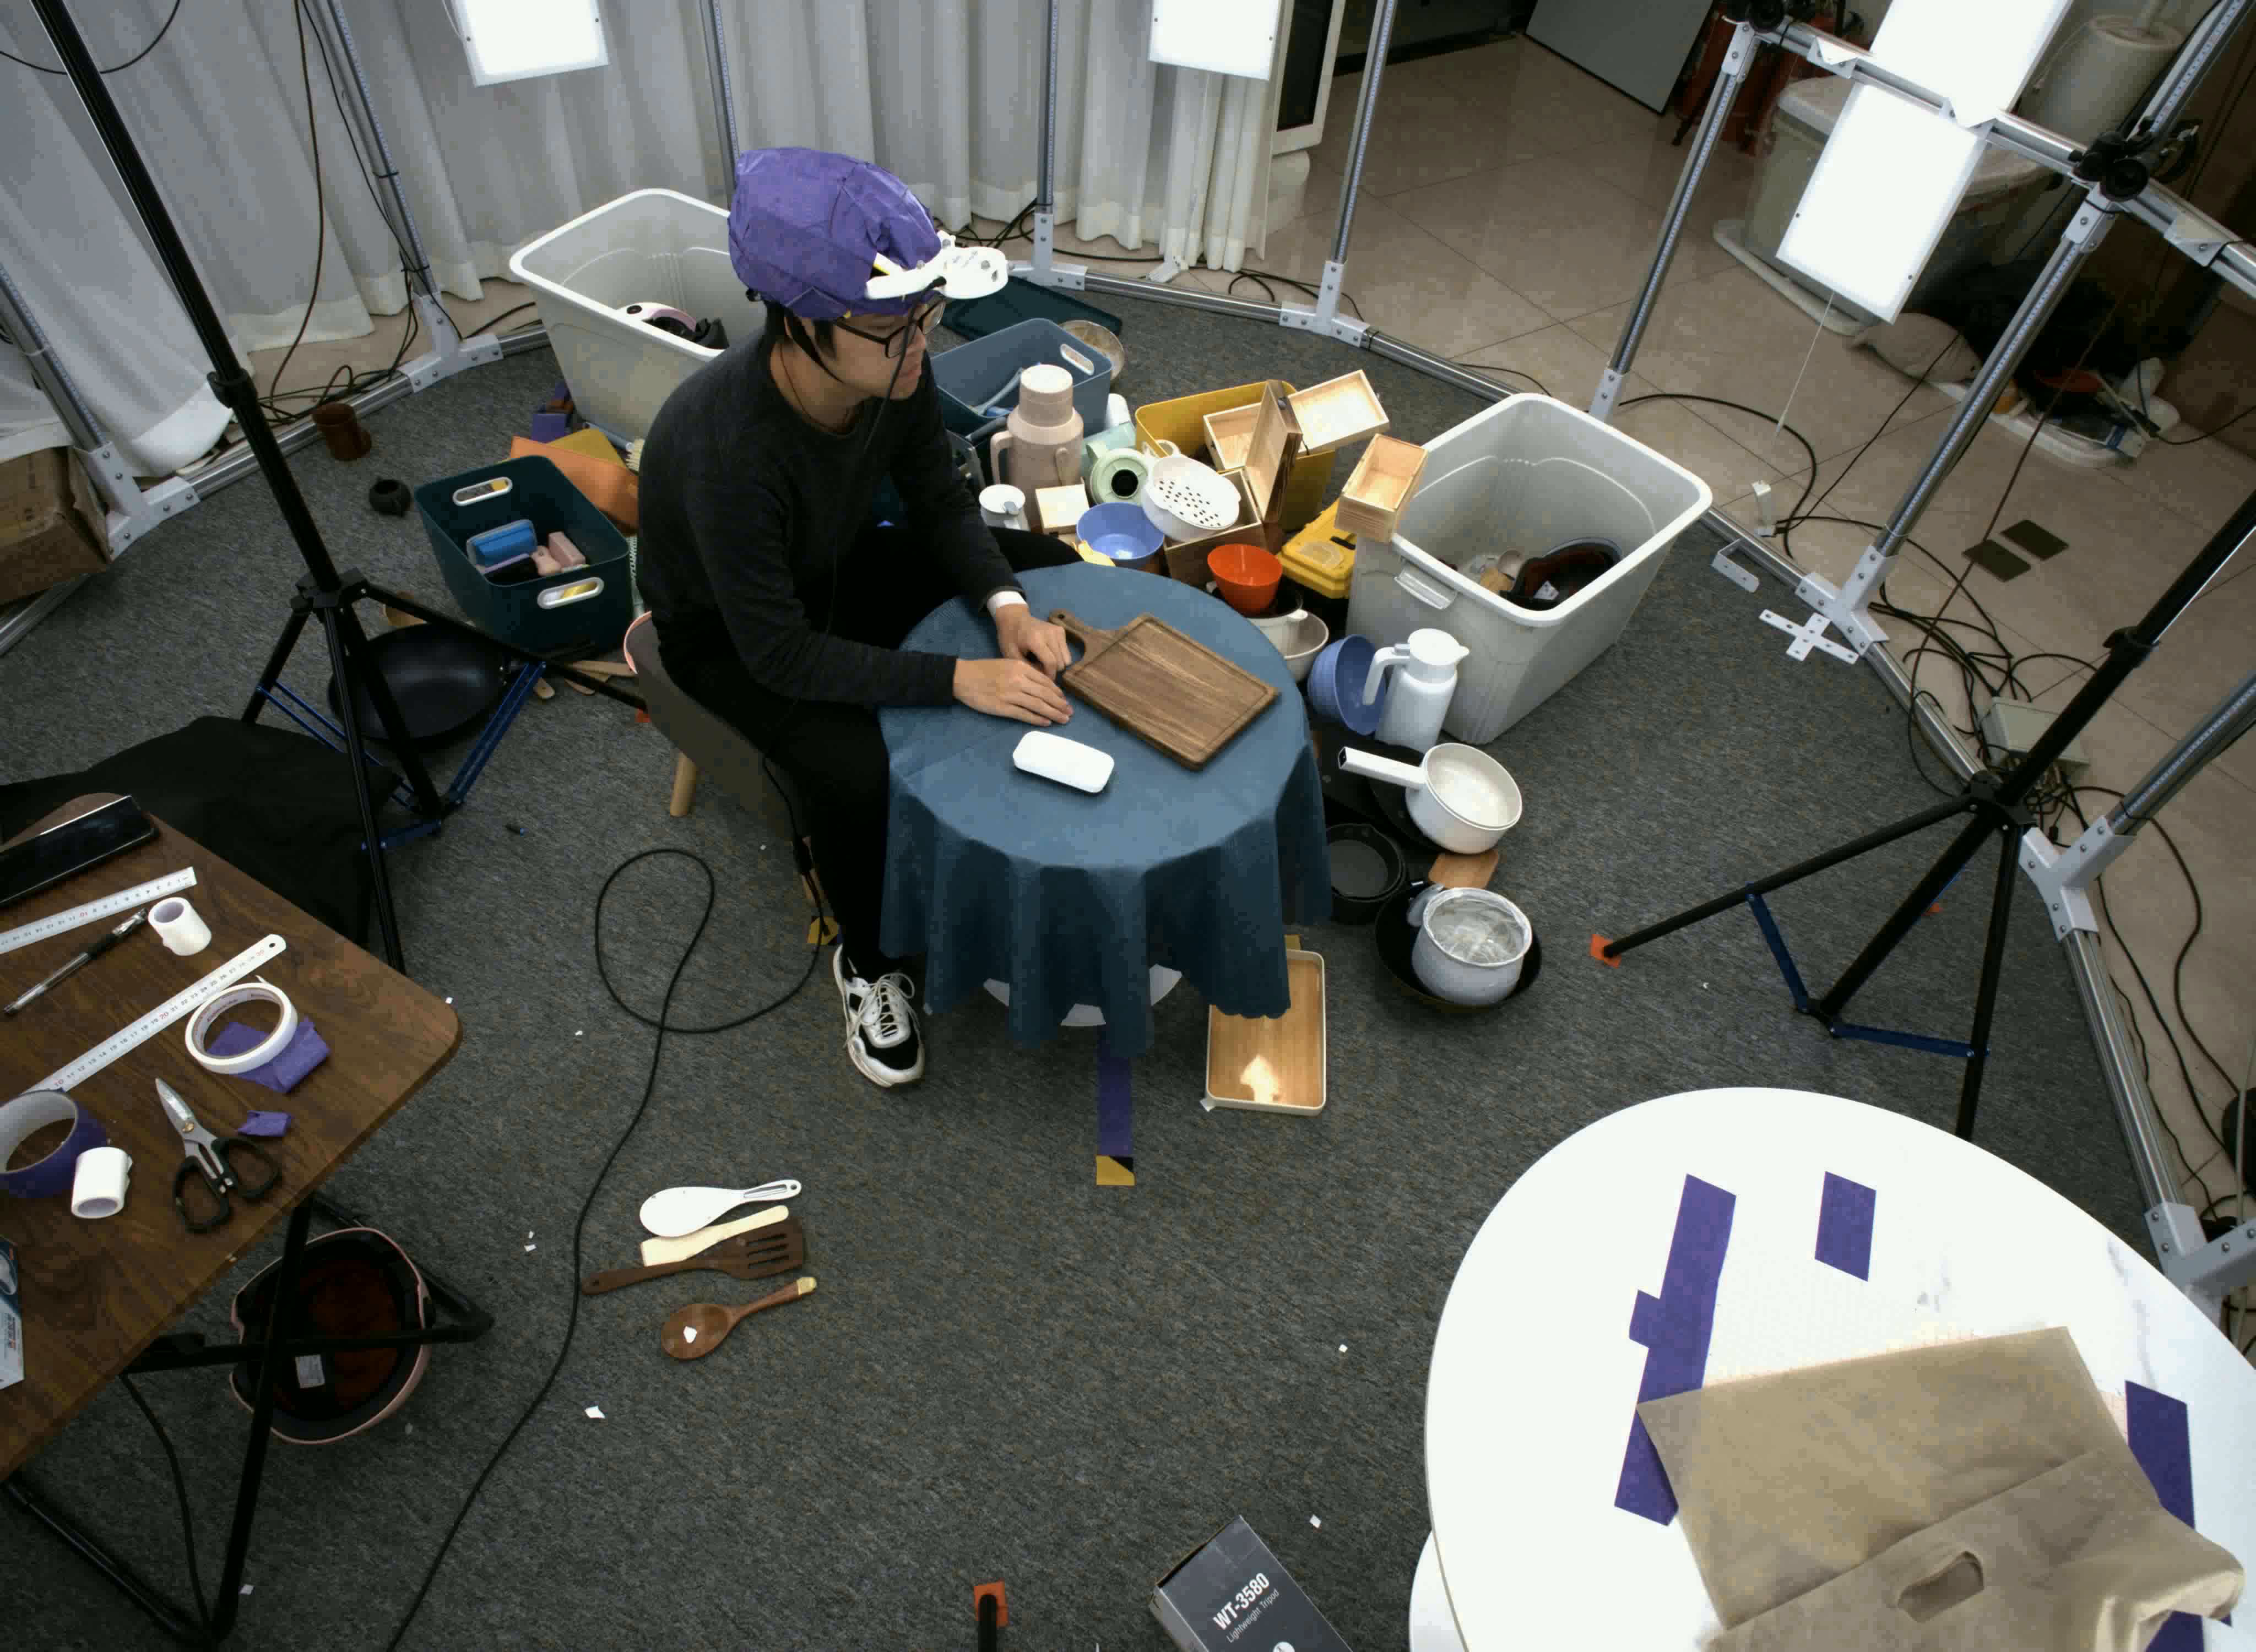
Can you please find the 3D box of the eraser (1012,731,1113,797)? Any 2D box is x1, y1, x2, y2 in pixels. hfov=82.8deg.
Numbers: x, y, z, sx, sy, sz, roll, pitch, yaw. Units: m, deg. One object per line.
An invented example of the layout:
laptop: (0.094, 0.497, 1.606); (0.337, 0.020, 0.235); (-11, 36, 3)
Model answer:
eraser: (-0.088, -0.086, 1.719); (0.132, 0.034, 0.064); (21, 52, 12)

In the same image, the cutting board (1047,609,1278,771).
cutting board: (0.022, -0.223, 1.851); (0.356, 0.022, 0.203); (34, 55, 23)
